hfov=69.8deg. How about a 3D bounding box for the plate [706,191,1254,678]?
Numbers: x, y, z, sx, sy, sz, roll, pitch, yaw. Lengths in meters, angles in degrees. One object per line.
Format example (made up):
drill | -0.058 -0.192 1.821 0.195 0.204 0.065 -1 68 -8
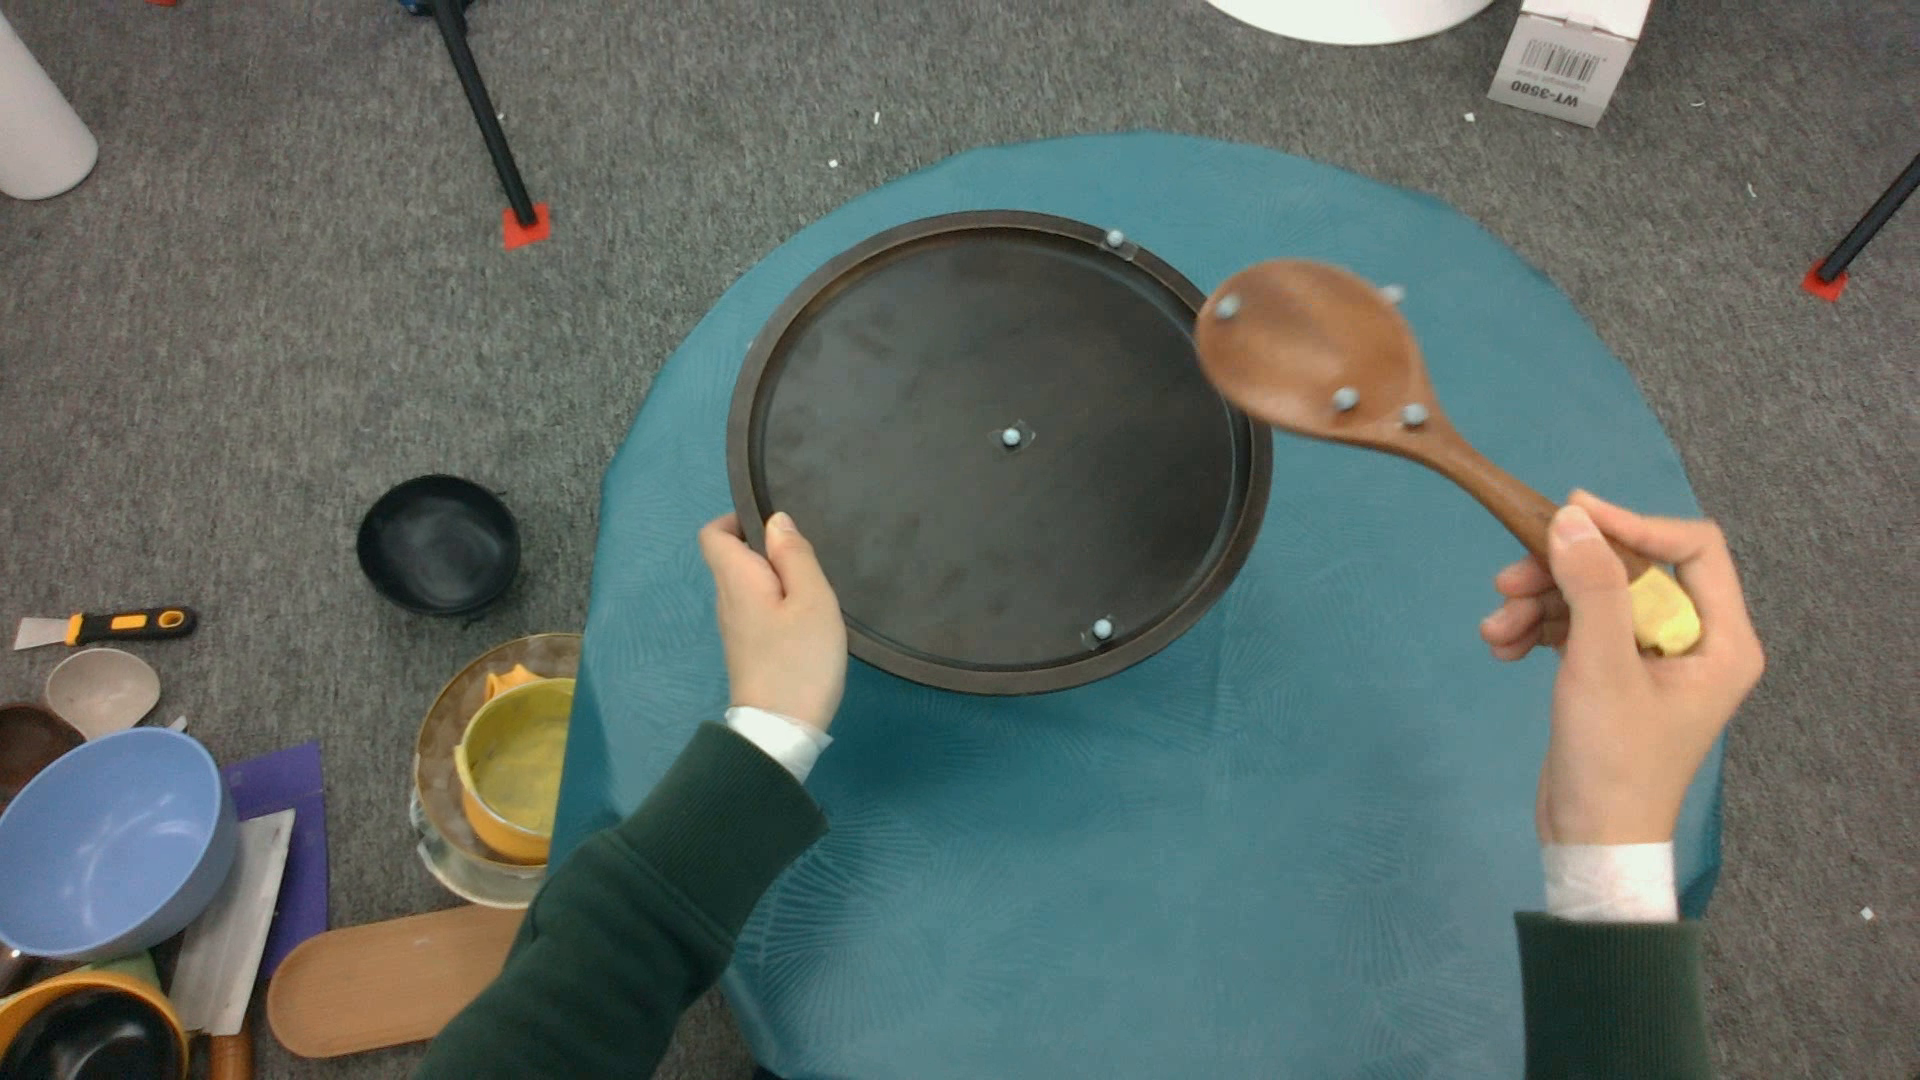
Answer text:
plate | 0.009 -0.055 0.643 0.255 0.029 0.255 1 65 -1

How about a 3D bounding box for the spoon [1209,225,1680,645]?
spoon | 0.177 -0.043 0.514 0.075 0.017 0.216 -35 64 -10
